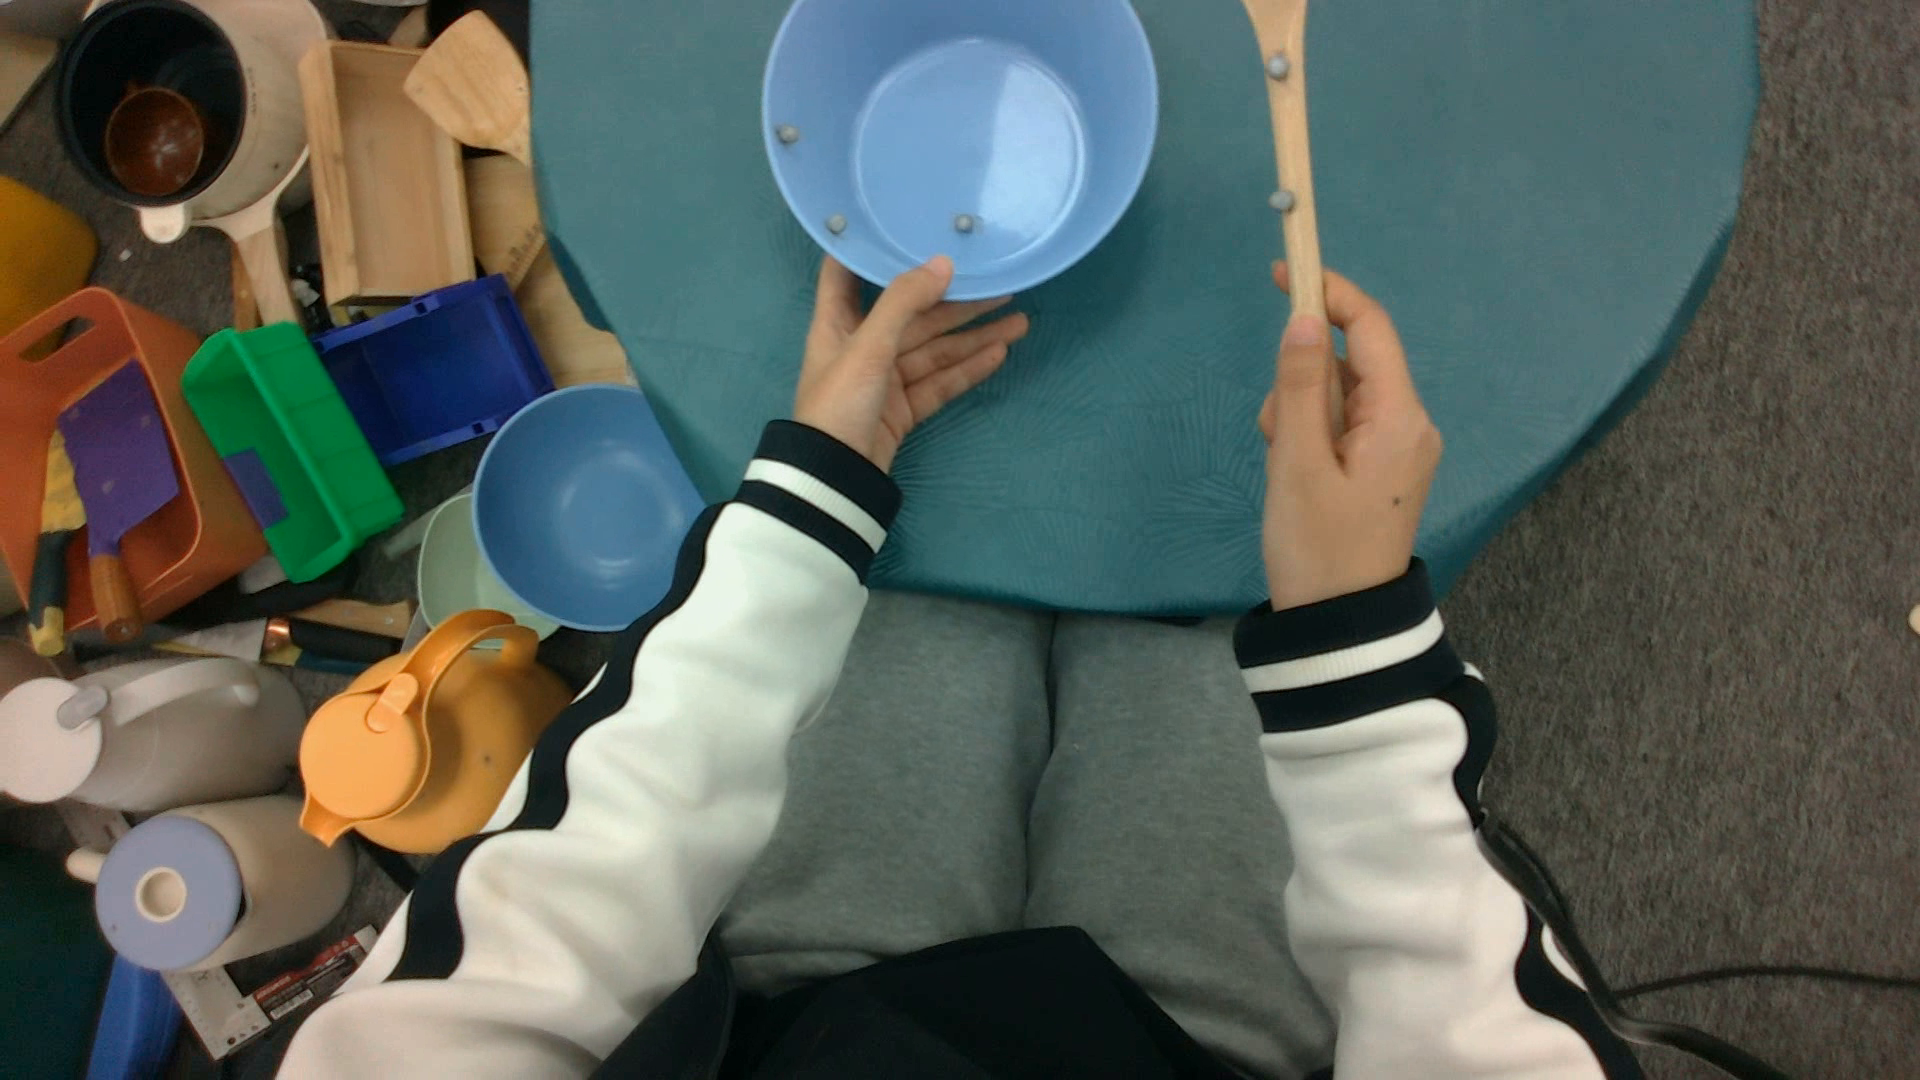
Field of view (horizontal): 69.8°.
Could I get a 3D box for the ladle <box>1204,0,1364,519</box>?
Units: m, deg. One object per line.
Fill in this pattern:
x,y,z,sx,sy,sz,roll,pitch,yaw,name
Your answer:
0.104,-0.128,0.488,0.072,0.073,0.254,-9,92,33,ladle

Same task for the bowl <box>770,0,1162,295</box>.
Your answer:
0.005,-0.191,0.644,0.176,0.070,0.176,-1,83,5,bowl
